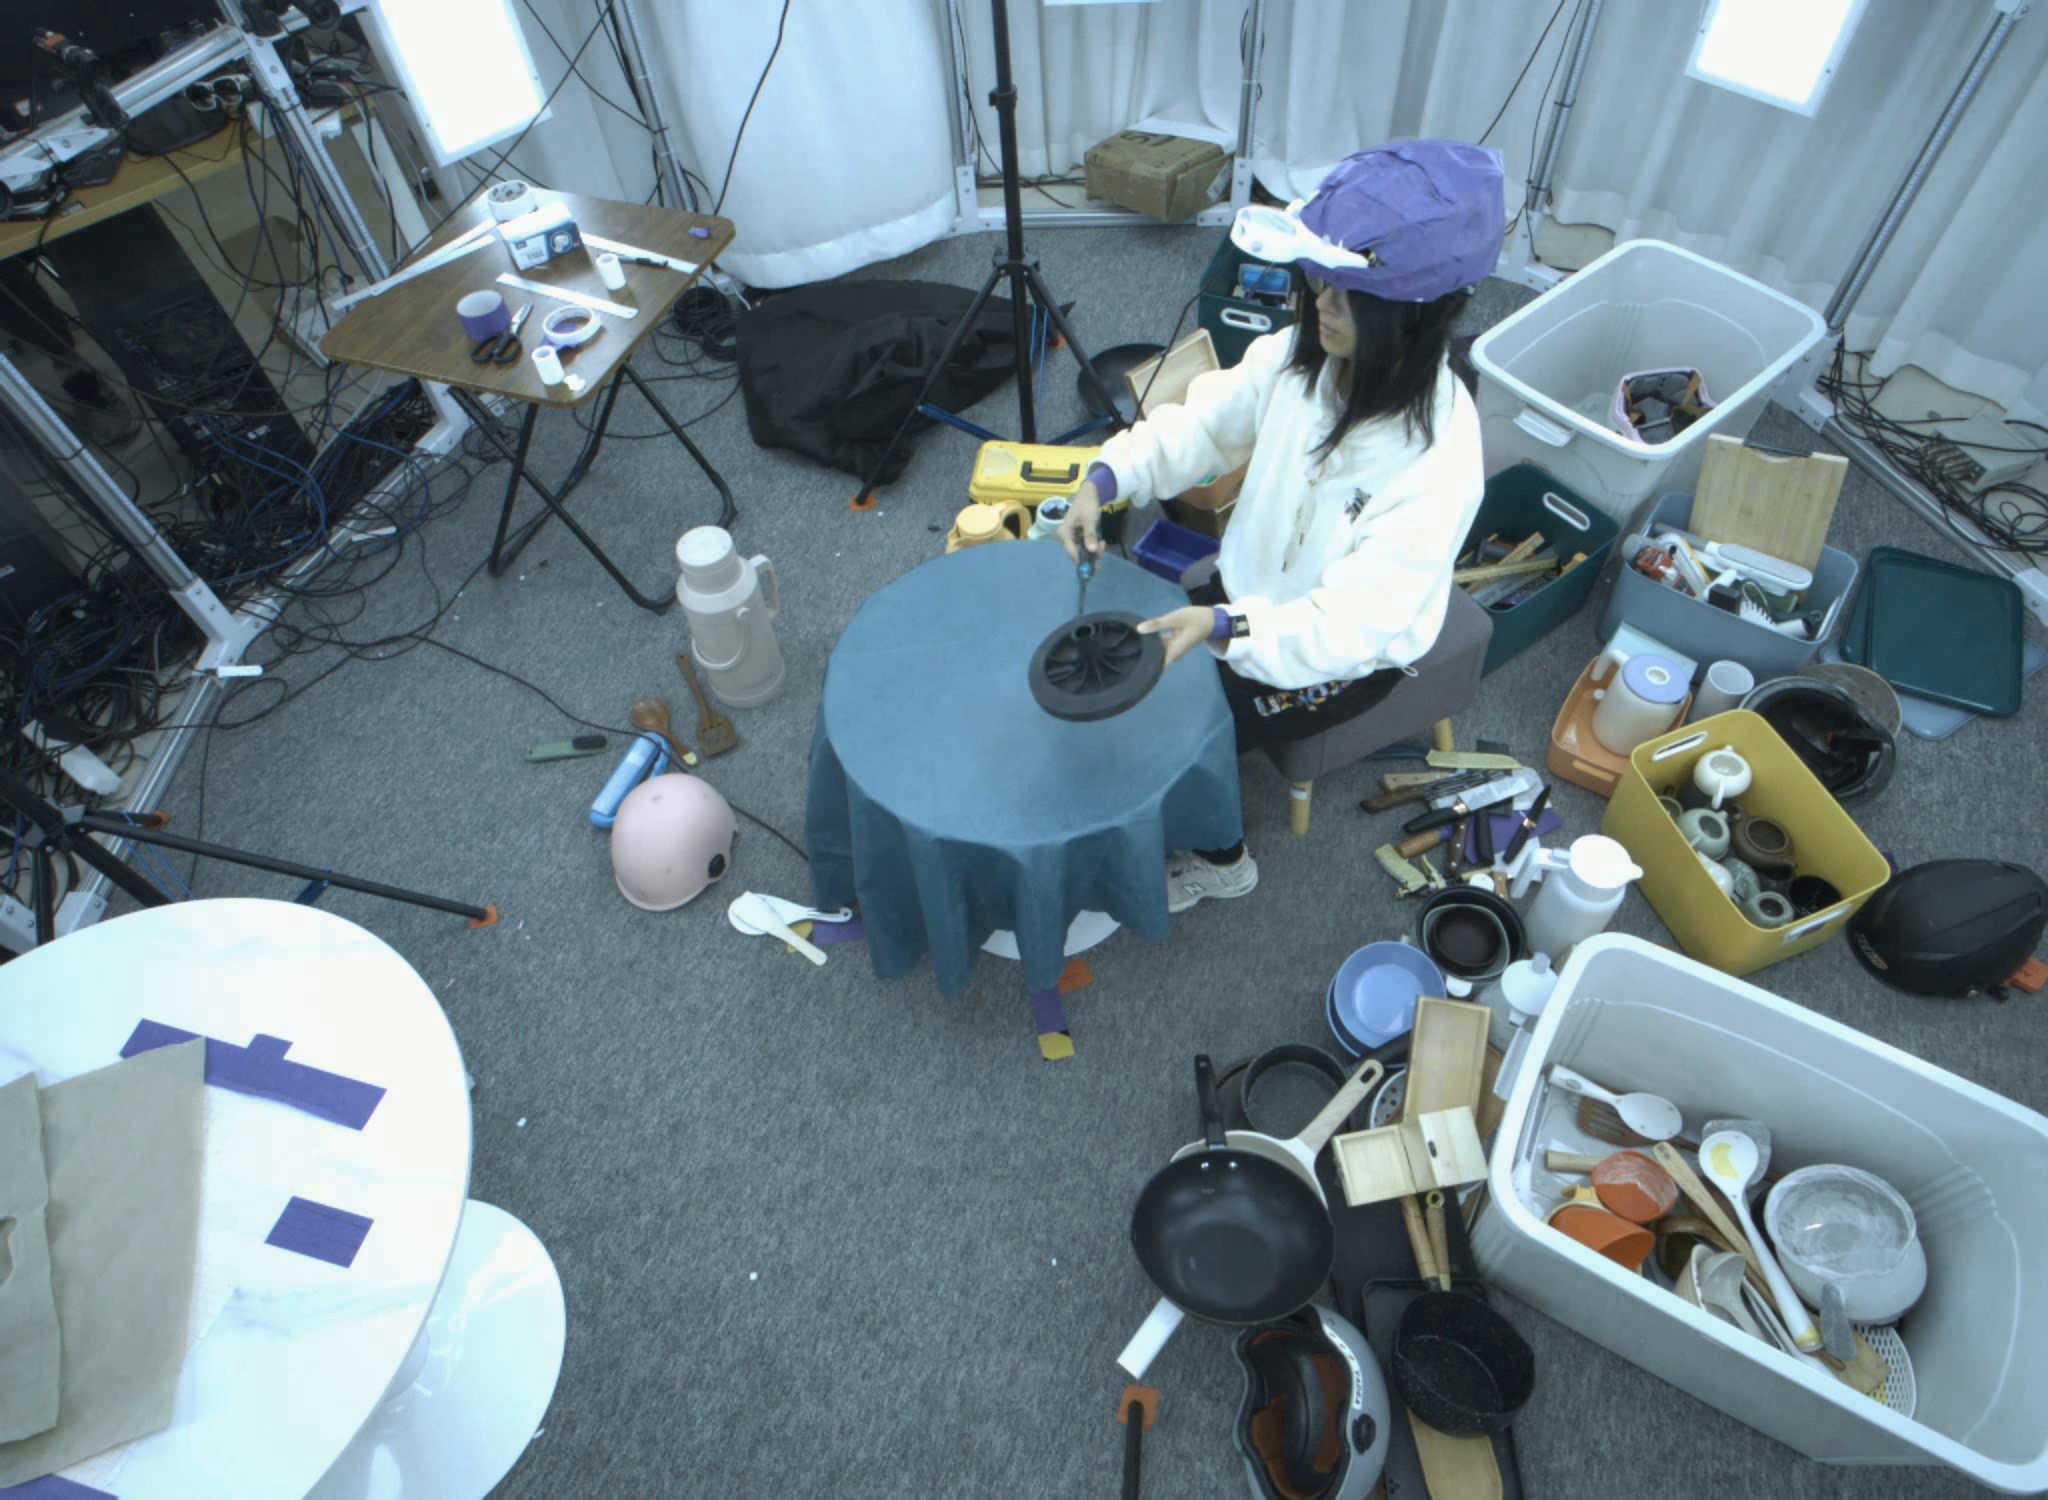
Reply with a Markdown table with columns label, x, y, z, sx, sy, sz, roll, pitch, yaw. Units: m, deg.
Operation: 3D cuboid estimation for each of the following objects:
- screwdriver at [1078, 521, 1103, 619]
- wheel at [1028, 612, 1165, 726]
| label | x | y | z | sx | sy | sz | roll | pitch | yaw |
| --- | --- | --- | --- | --- | --- | --- | --- | --- | --- |
| screwdriver | 0.090 | -0.257 | 1.759 | 0.033 | 0.034 | 0.188 | 4 | 53 | 6 |
| wheel | 0.089 | -0.123 | 1.632 | 0.190 | 0.080 | 0.183 | -30 | 47 | -2 |
